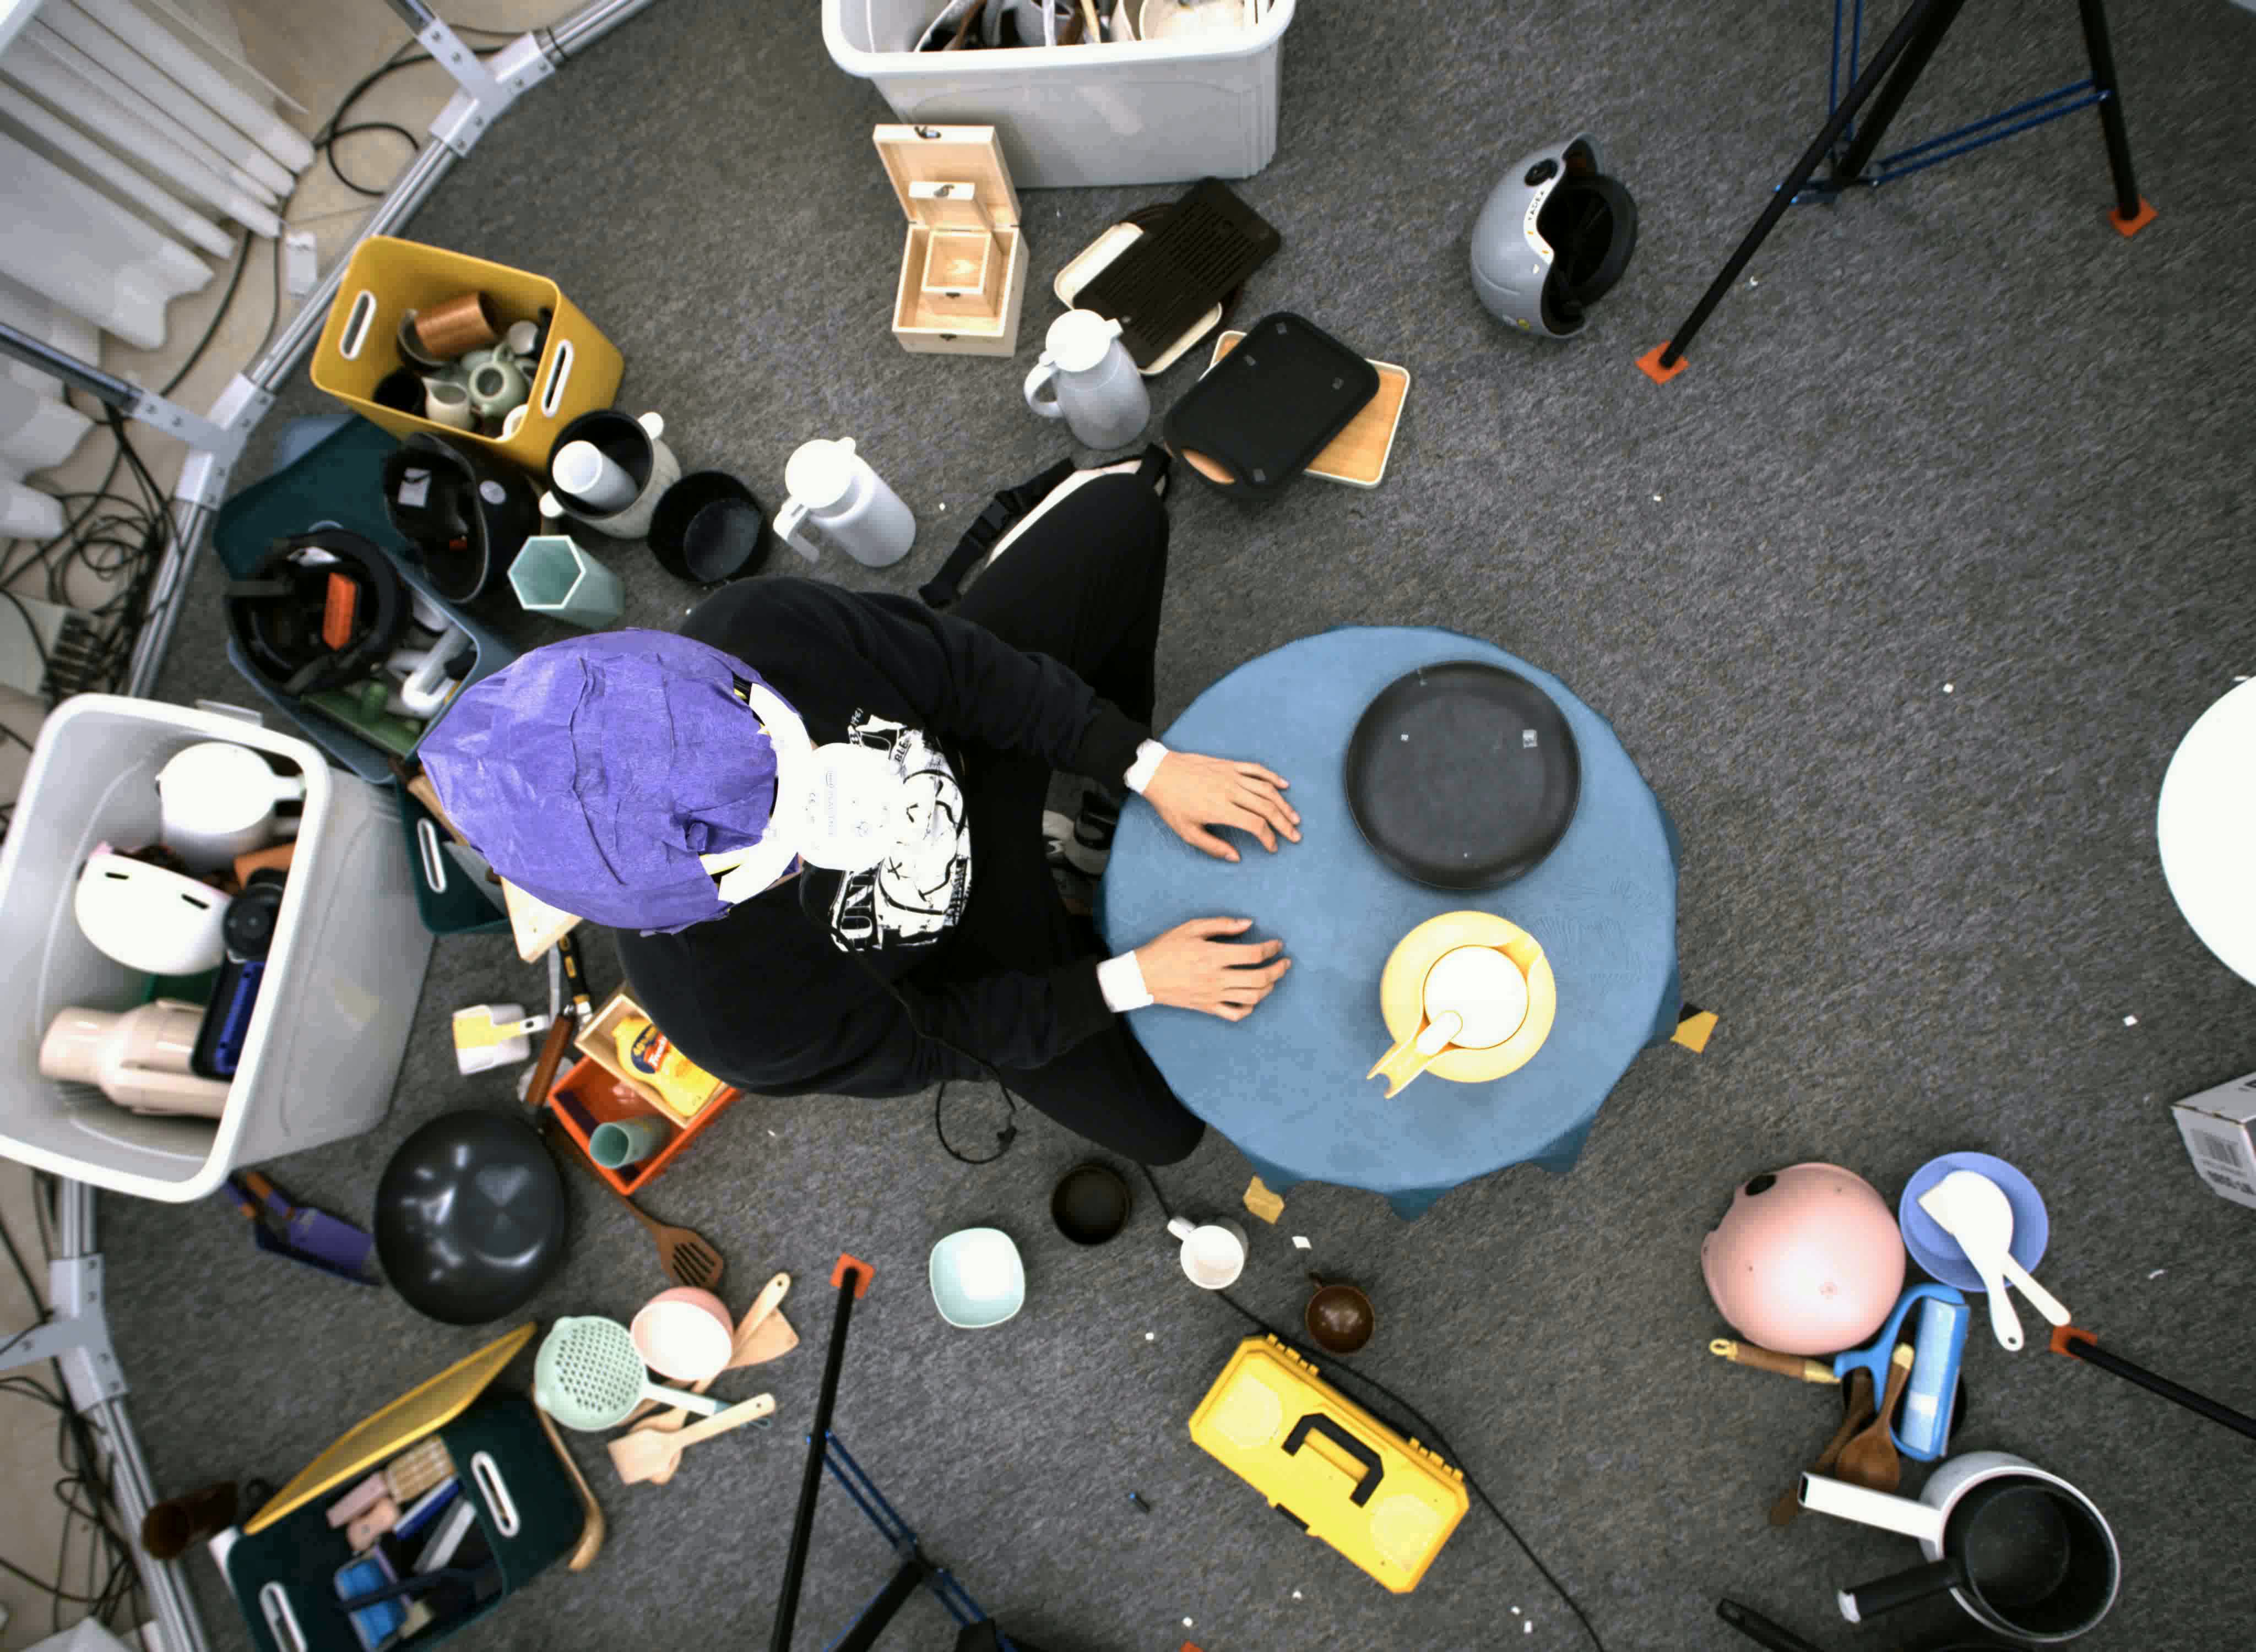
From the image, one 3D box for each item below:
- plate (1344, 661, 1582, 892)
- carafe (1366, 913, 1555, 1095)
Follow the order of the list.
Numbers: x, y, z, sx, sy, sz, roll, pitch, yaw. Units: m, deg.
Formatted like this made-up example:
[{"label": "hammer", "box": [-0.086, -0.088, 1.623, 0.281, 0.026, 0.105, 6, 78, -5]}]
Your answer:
[{"label": "plate", "box": [0.350, -0.054, 1.440, 0.245, 0.023, 0.243, -1, 87, 11]}, {"label": "carafe", "box": [0.308, 0.174, 1.316, 0.203, 0.261, 0.162, -42, 77, 3]}]
